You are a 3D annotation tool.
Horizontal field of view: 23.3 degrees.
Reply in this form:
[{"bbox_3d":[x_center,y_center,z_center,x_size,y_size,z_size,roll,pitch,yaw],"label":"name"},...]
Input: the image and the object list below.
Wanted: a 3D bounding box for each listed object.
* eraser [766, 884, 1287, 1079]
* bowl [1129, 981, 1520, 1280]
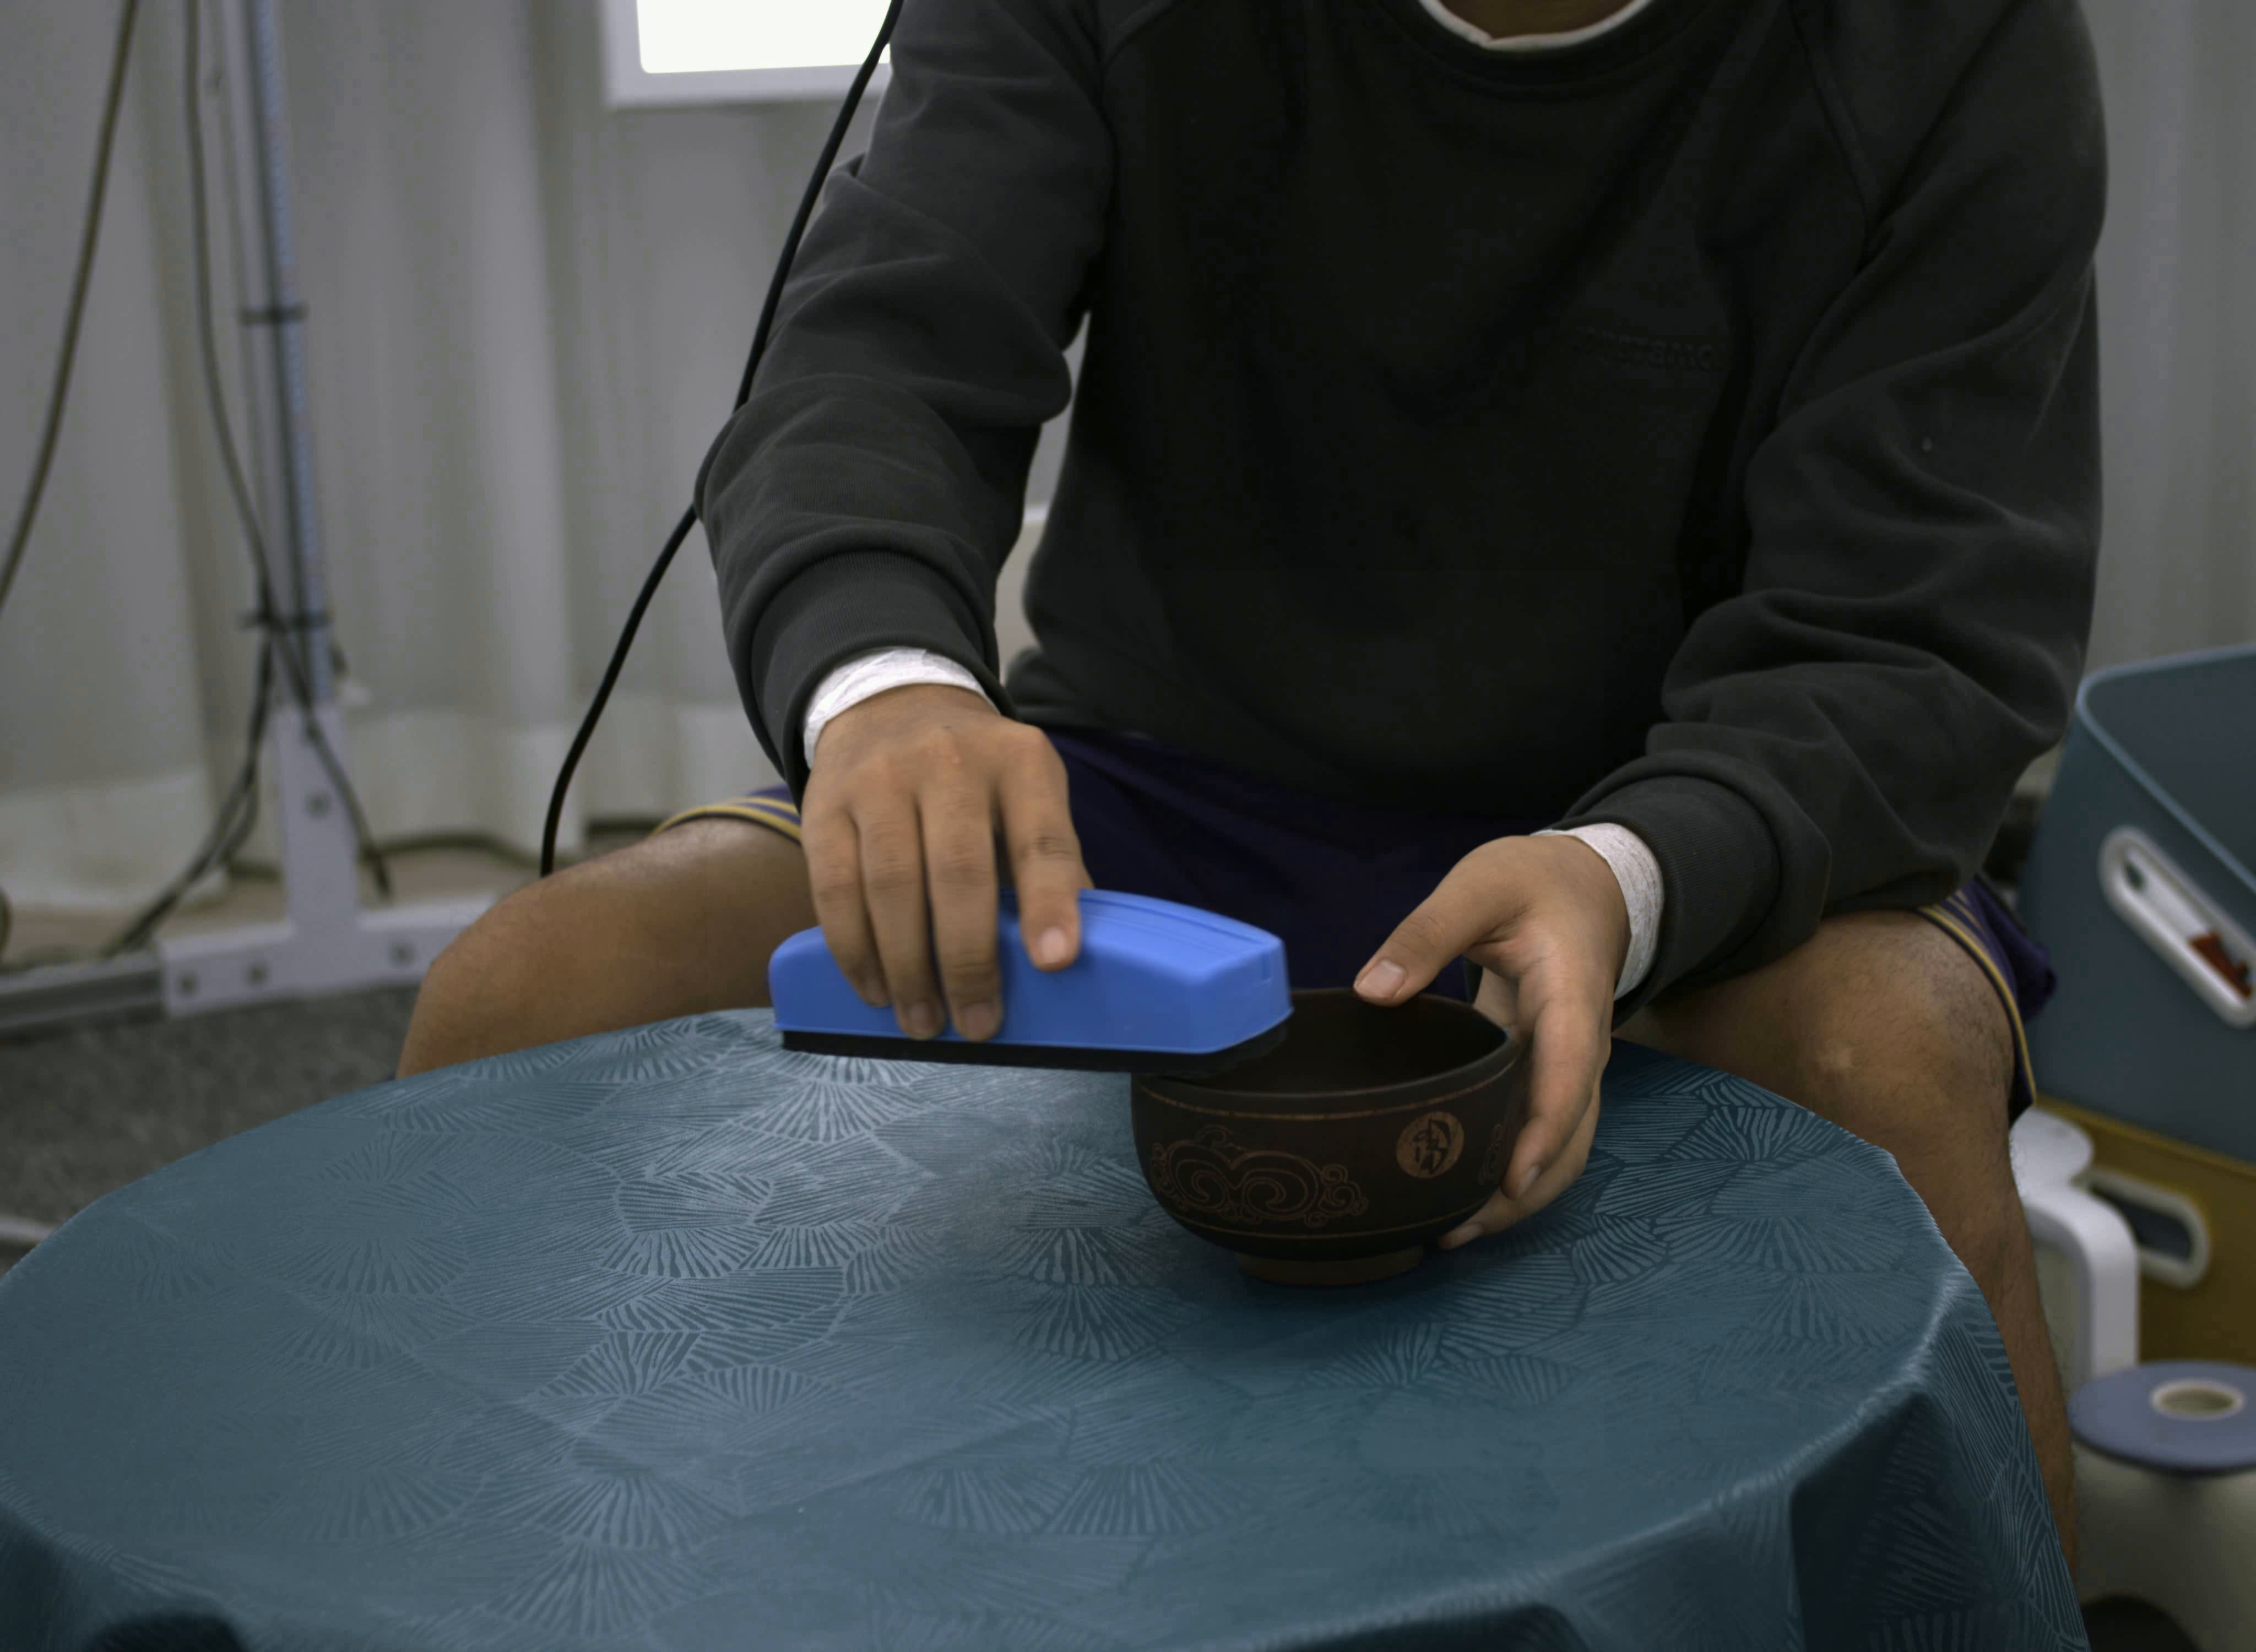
[{"bbox_3d":[-0.032,0.044,1.641,0.162,0.047,0.054,2,16,31],"label":"eraser"},{"bbox_3d":[0.059,0.094,1.636,0.117,0.069,0.119,-3,13,0],"label":"bowl"}]
